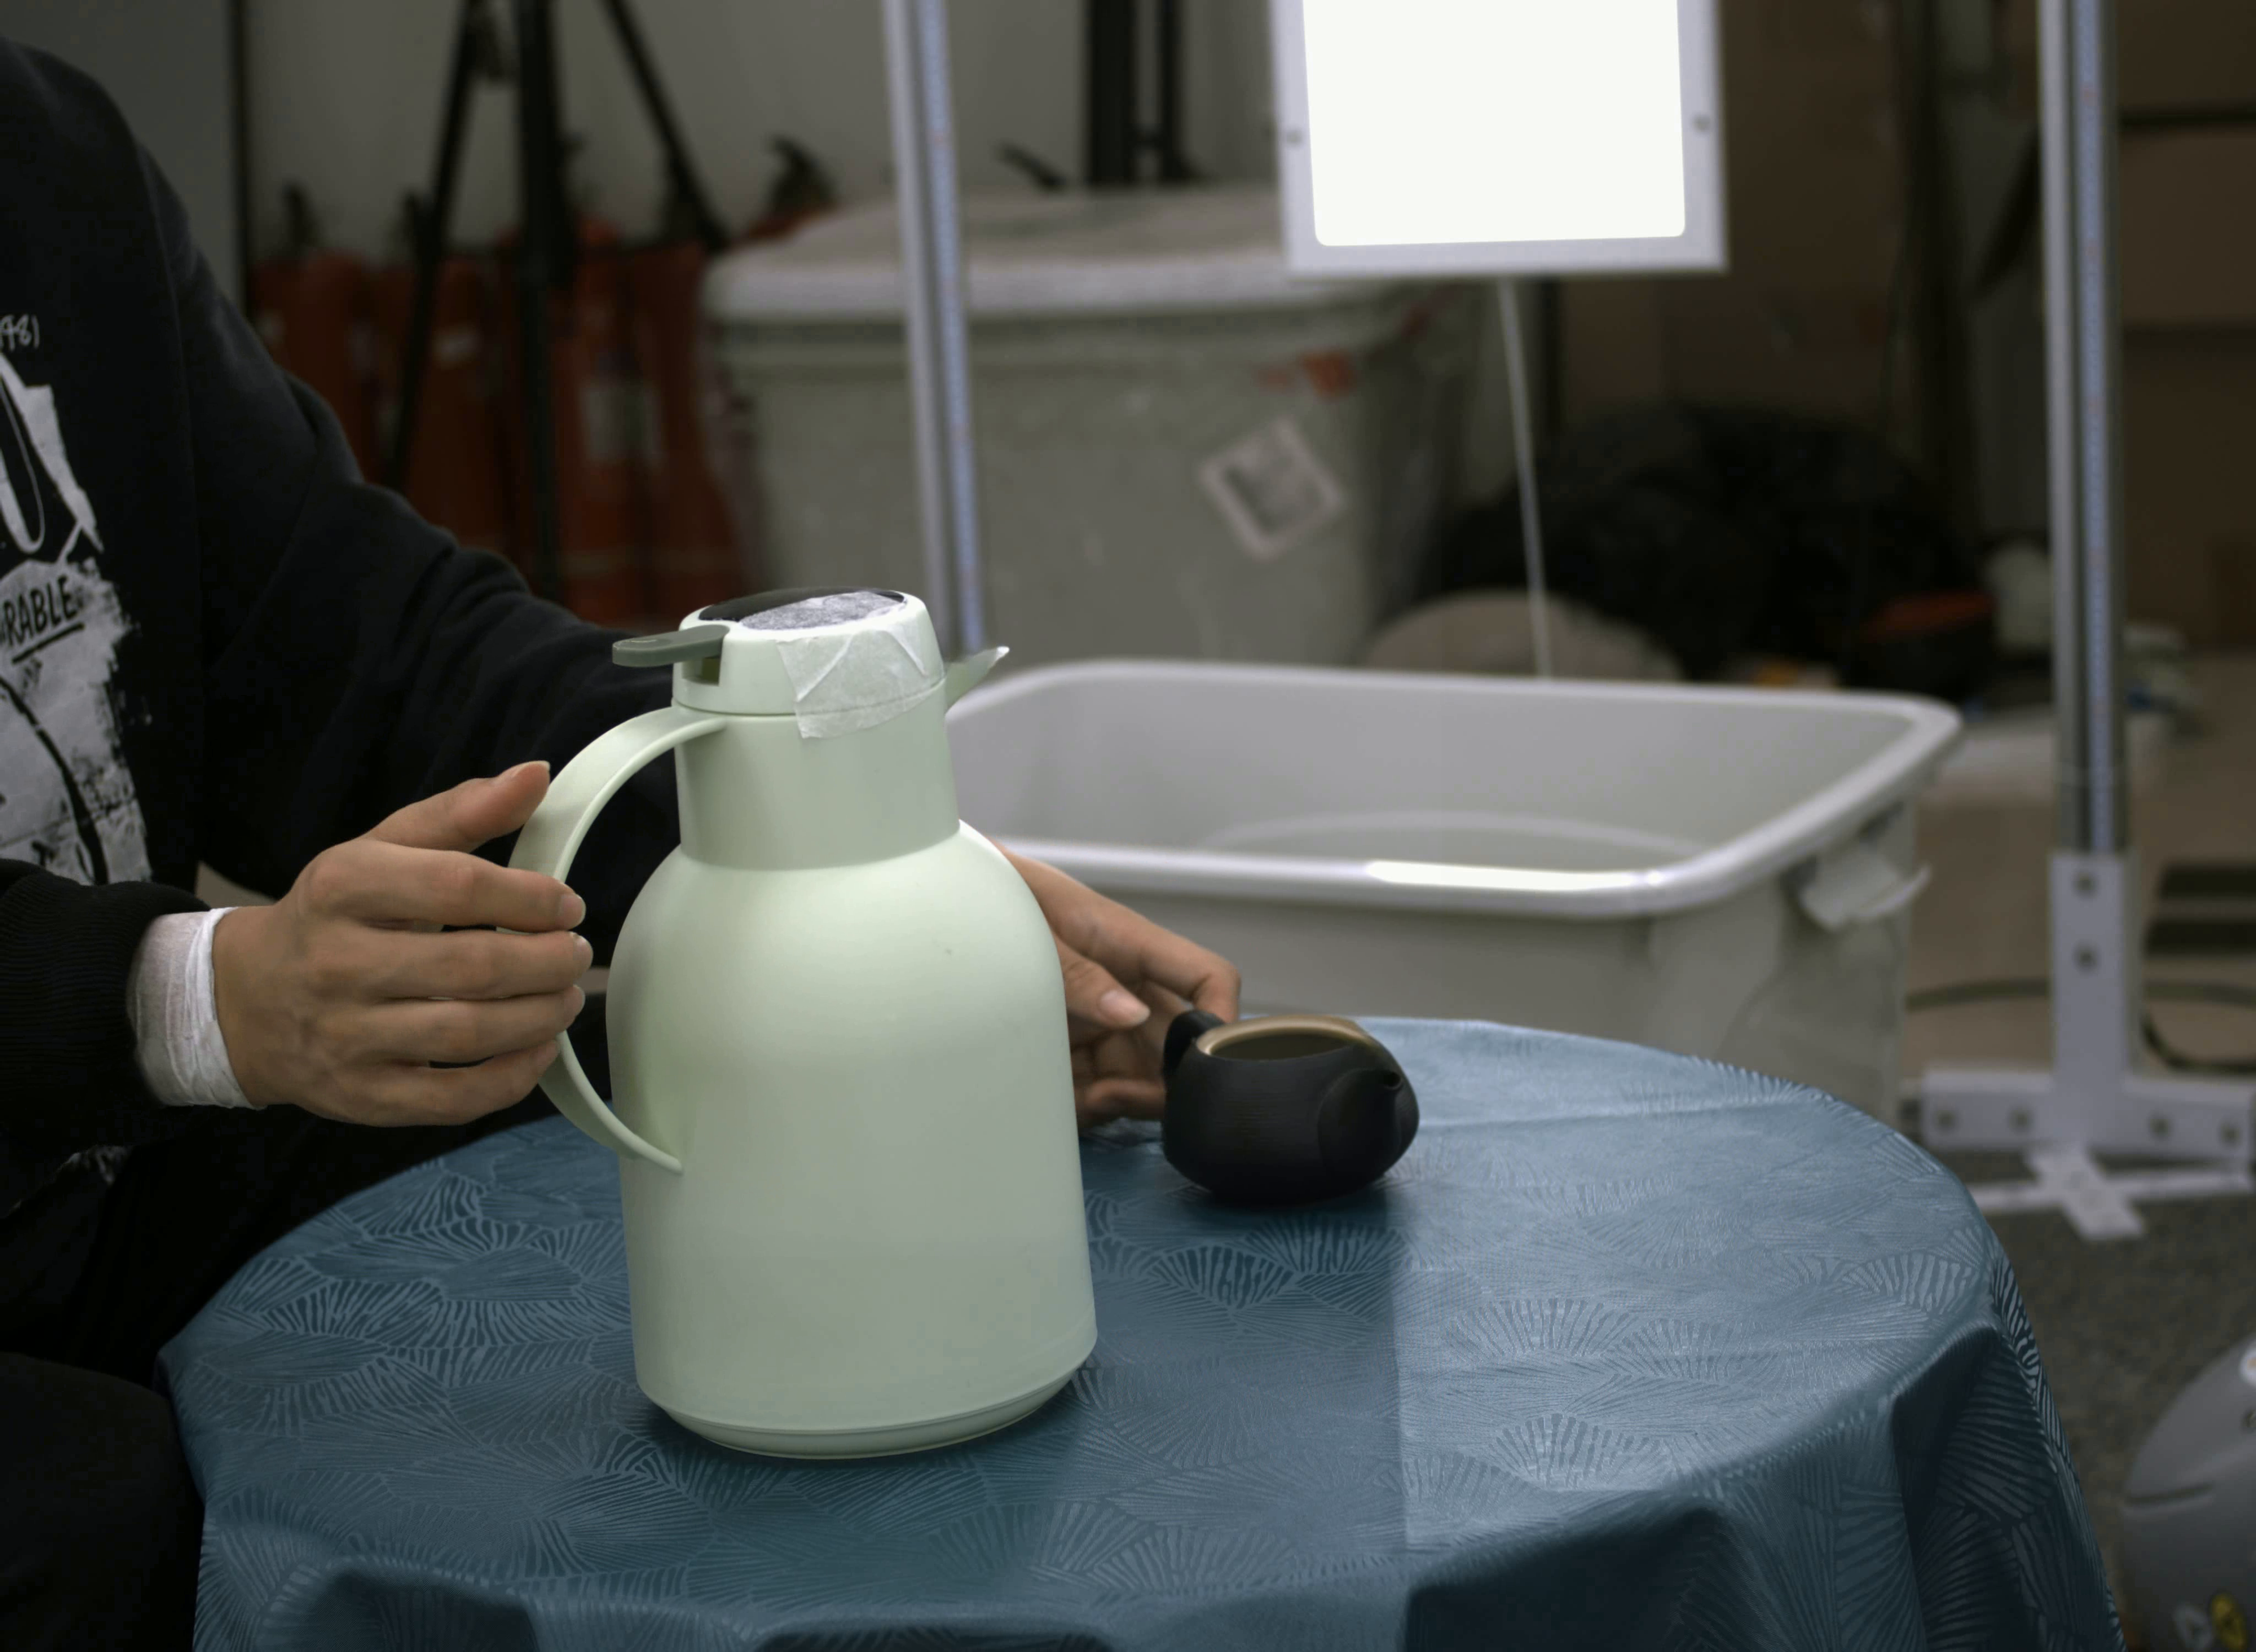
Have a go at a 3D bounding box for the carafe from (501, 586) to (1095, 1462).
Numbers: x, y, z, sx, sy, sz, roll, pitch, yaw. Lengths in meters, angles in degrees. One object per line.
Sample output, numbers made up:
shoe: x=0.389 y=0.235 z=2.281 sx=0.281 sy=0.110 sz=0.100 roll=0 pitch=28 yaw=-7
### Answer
carafe: x=-0.101 y=0.060 z=1.685 sx=0.182 sy=0.257 sz=0.147 roll=-18 pitch=20 yaw=-34

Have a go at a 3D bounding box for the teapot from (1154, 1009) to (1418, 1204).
teapot: x=0.054 y=0.097 z=1.887 sx=0.089 sy=0.053 sz=0.136 roll=-12 pitch=16 yaw=-32
